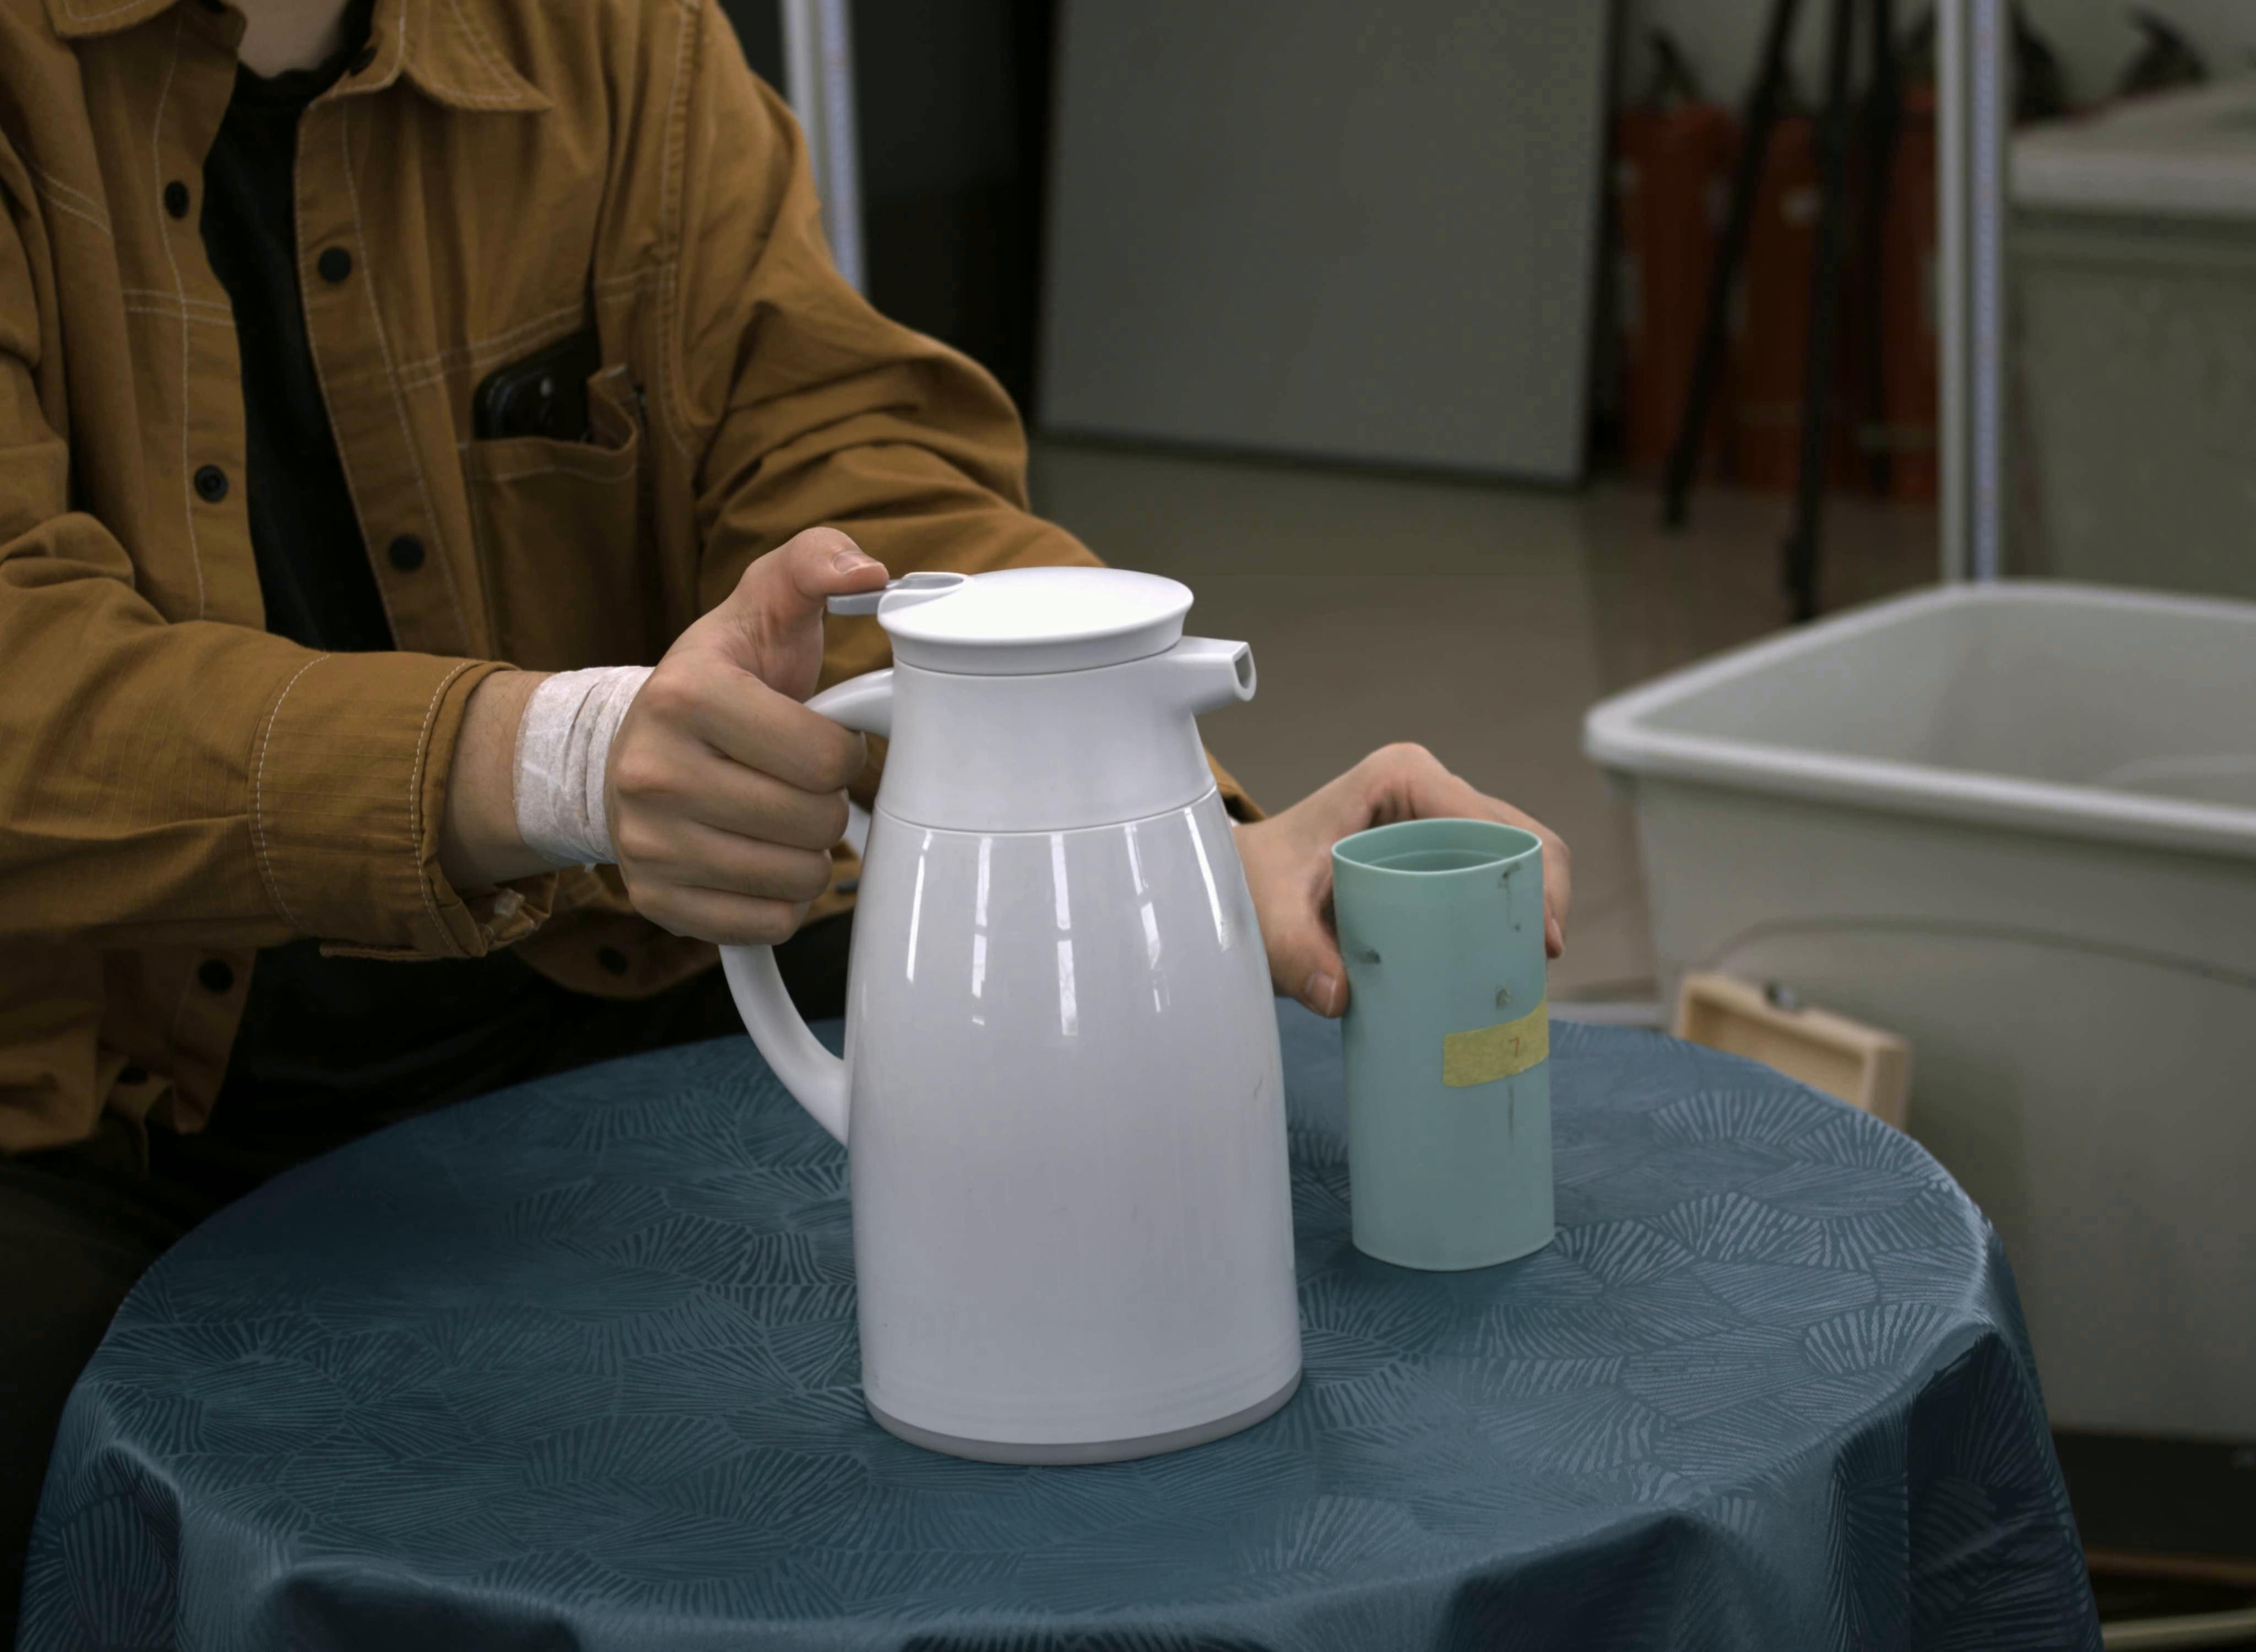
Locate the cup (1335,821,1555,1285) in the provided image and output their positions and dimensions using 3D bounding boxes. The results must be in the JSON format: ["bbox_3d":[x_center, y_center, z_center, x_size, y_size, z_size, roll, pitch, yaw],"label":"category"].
[{"bbox_3d":[0.100,0.070,1.689,0.066,0.134,0.067,-3,14,0],"label":"cup"}]

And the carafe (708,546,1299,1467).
[{"bbox_3d":[-0.040,0.046,1.571,0.167,0.251,0.131,0,14,17],"label":"carafe"}]
